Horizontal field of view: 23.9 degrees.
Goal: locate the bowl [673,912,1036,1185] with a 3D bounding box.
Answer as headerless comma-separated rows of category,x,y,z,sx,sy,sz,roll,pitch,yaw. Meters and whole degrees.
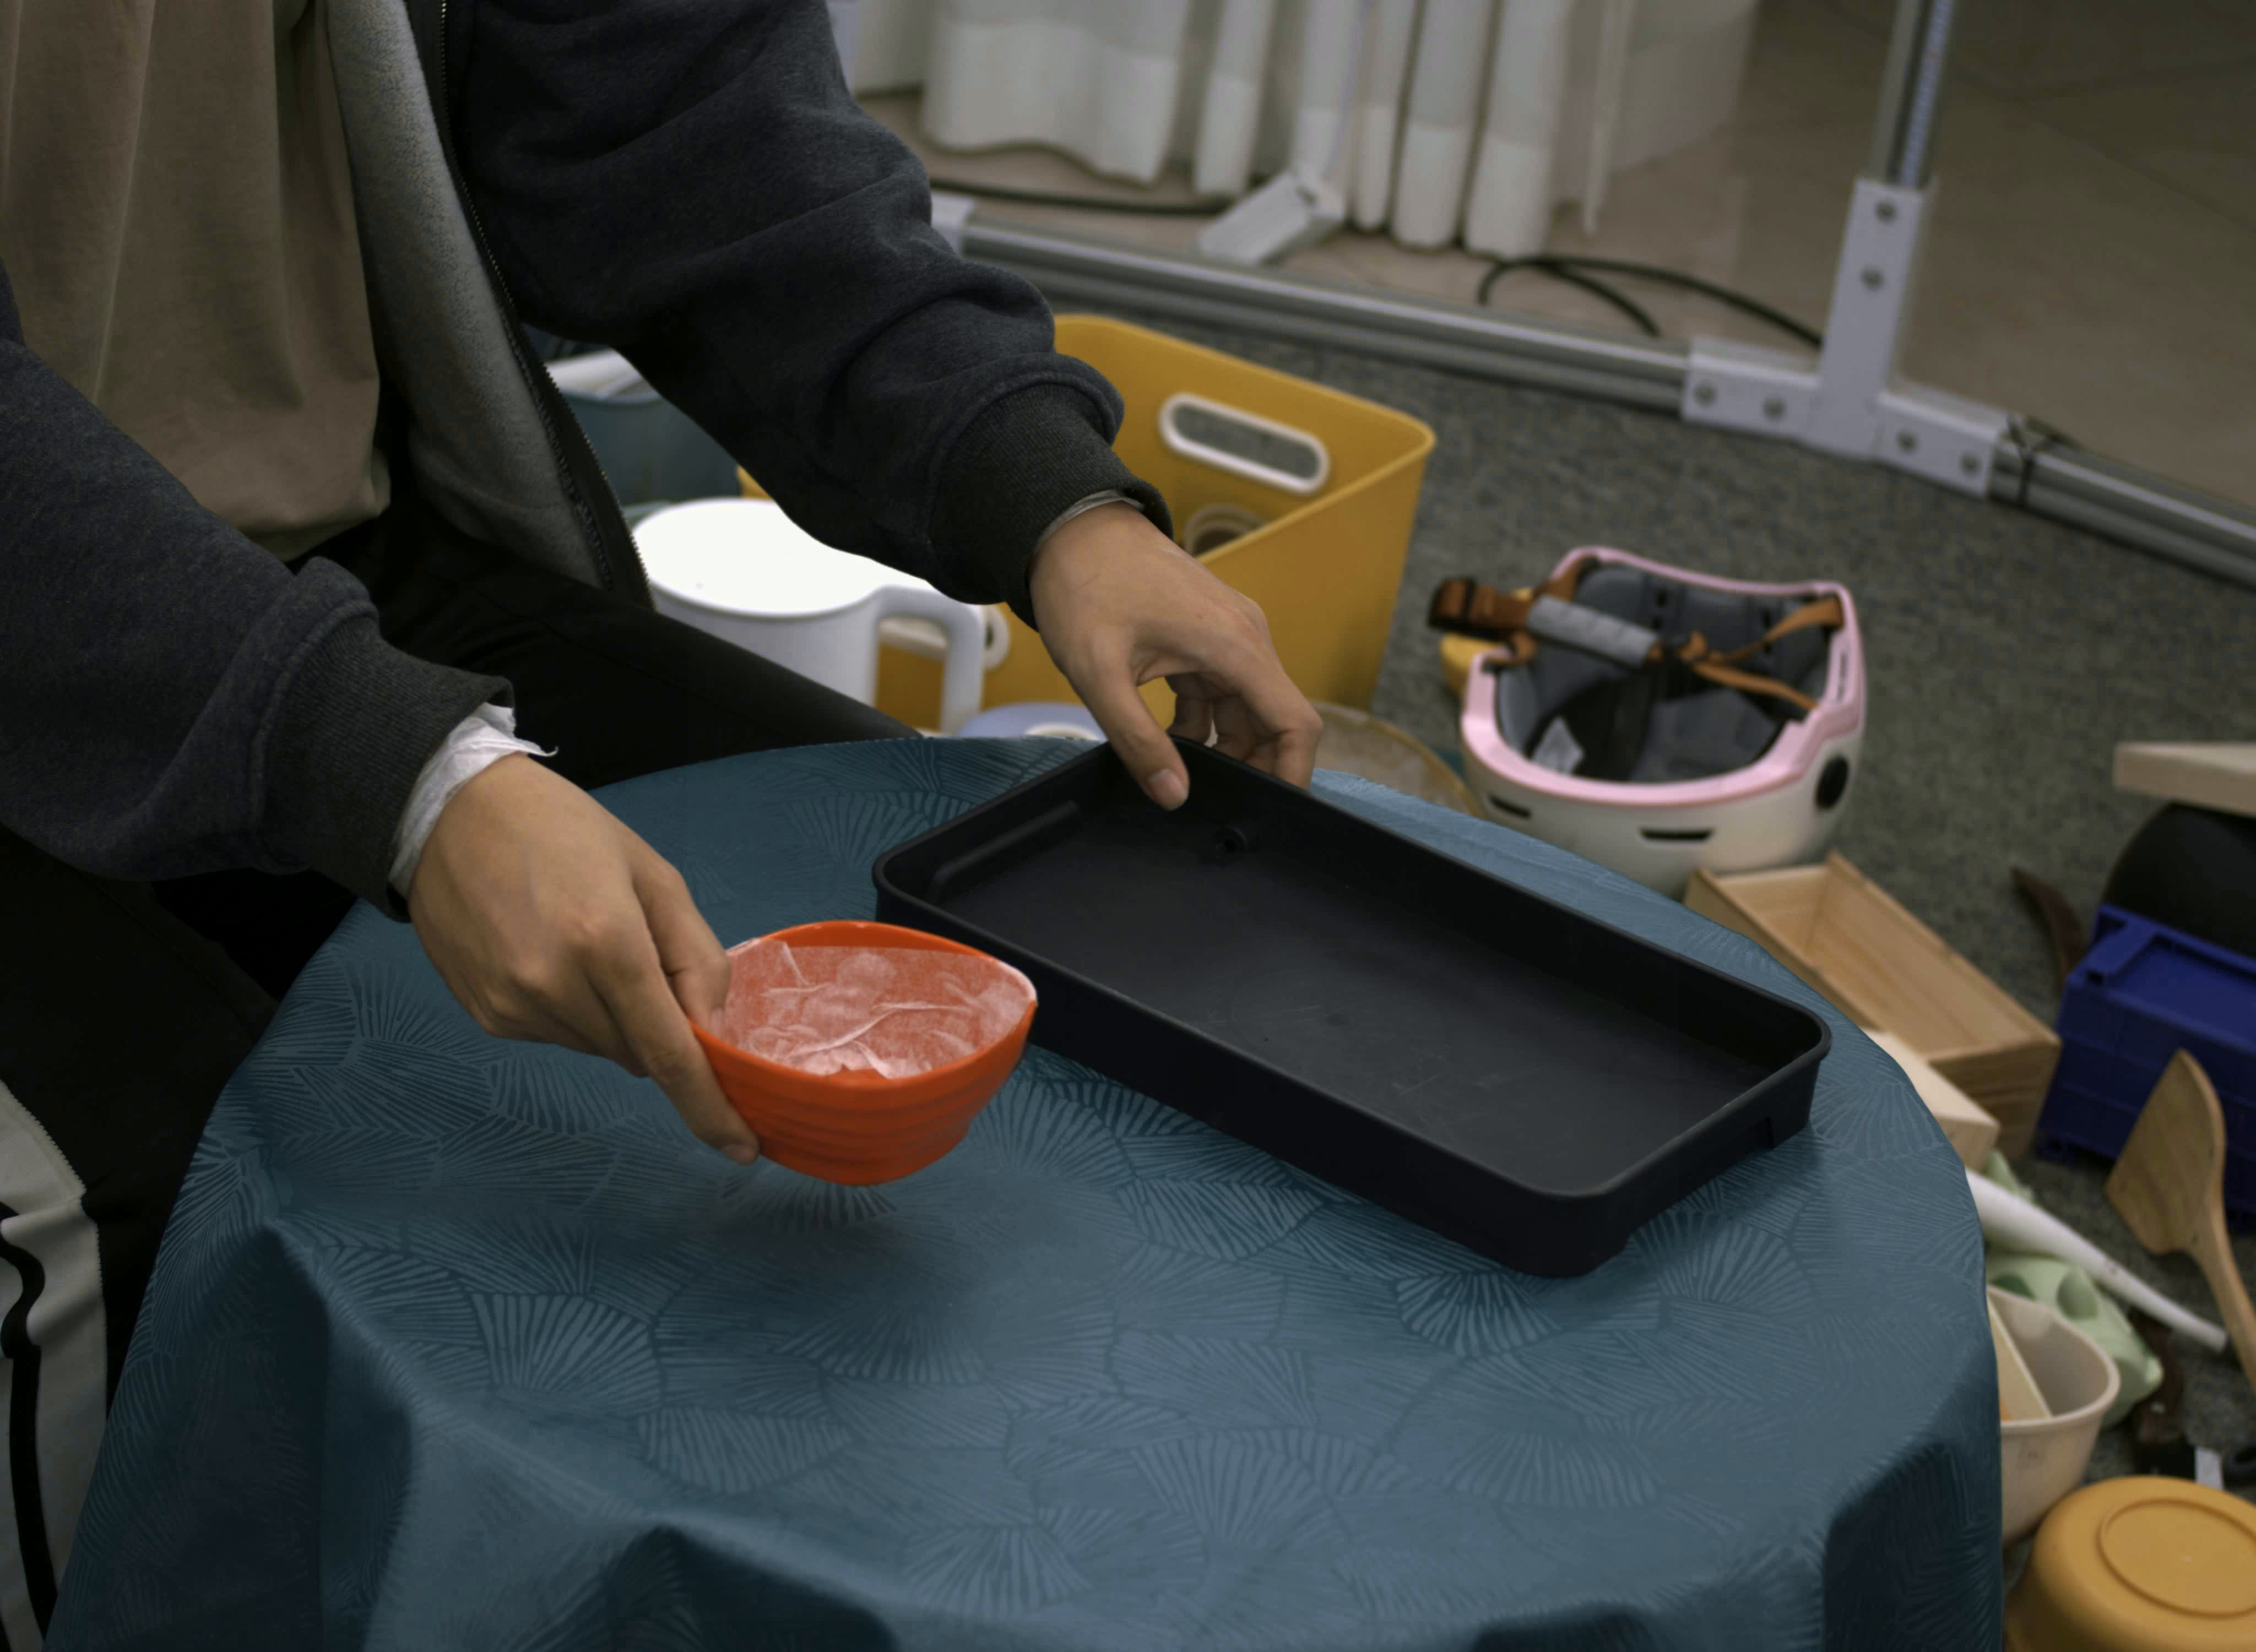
bowl,-0.090,0.076,1.741,0.118,0.051,0.119,2,26,-1

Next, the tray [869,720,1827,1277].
tray,0.075,0.056,1.907,0.320,0.037,0.183,25,32,30
